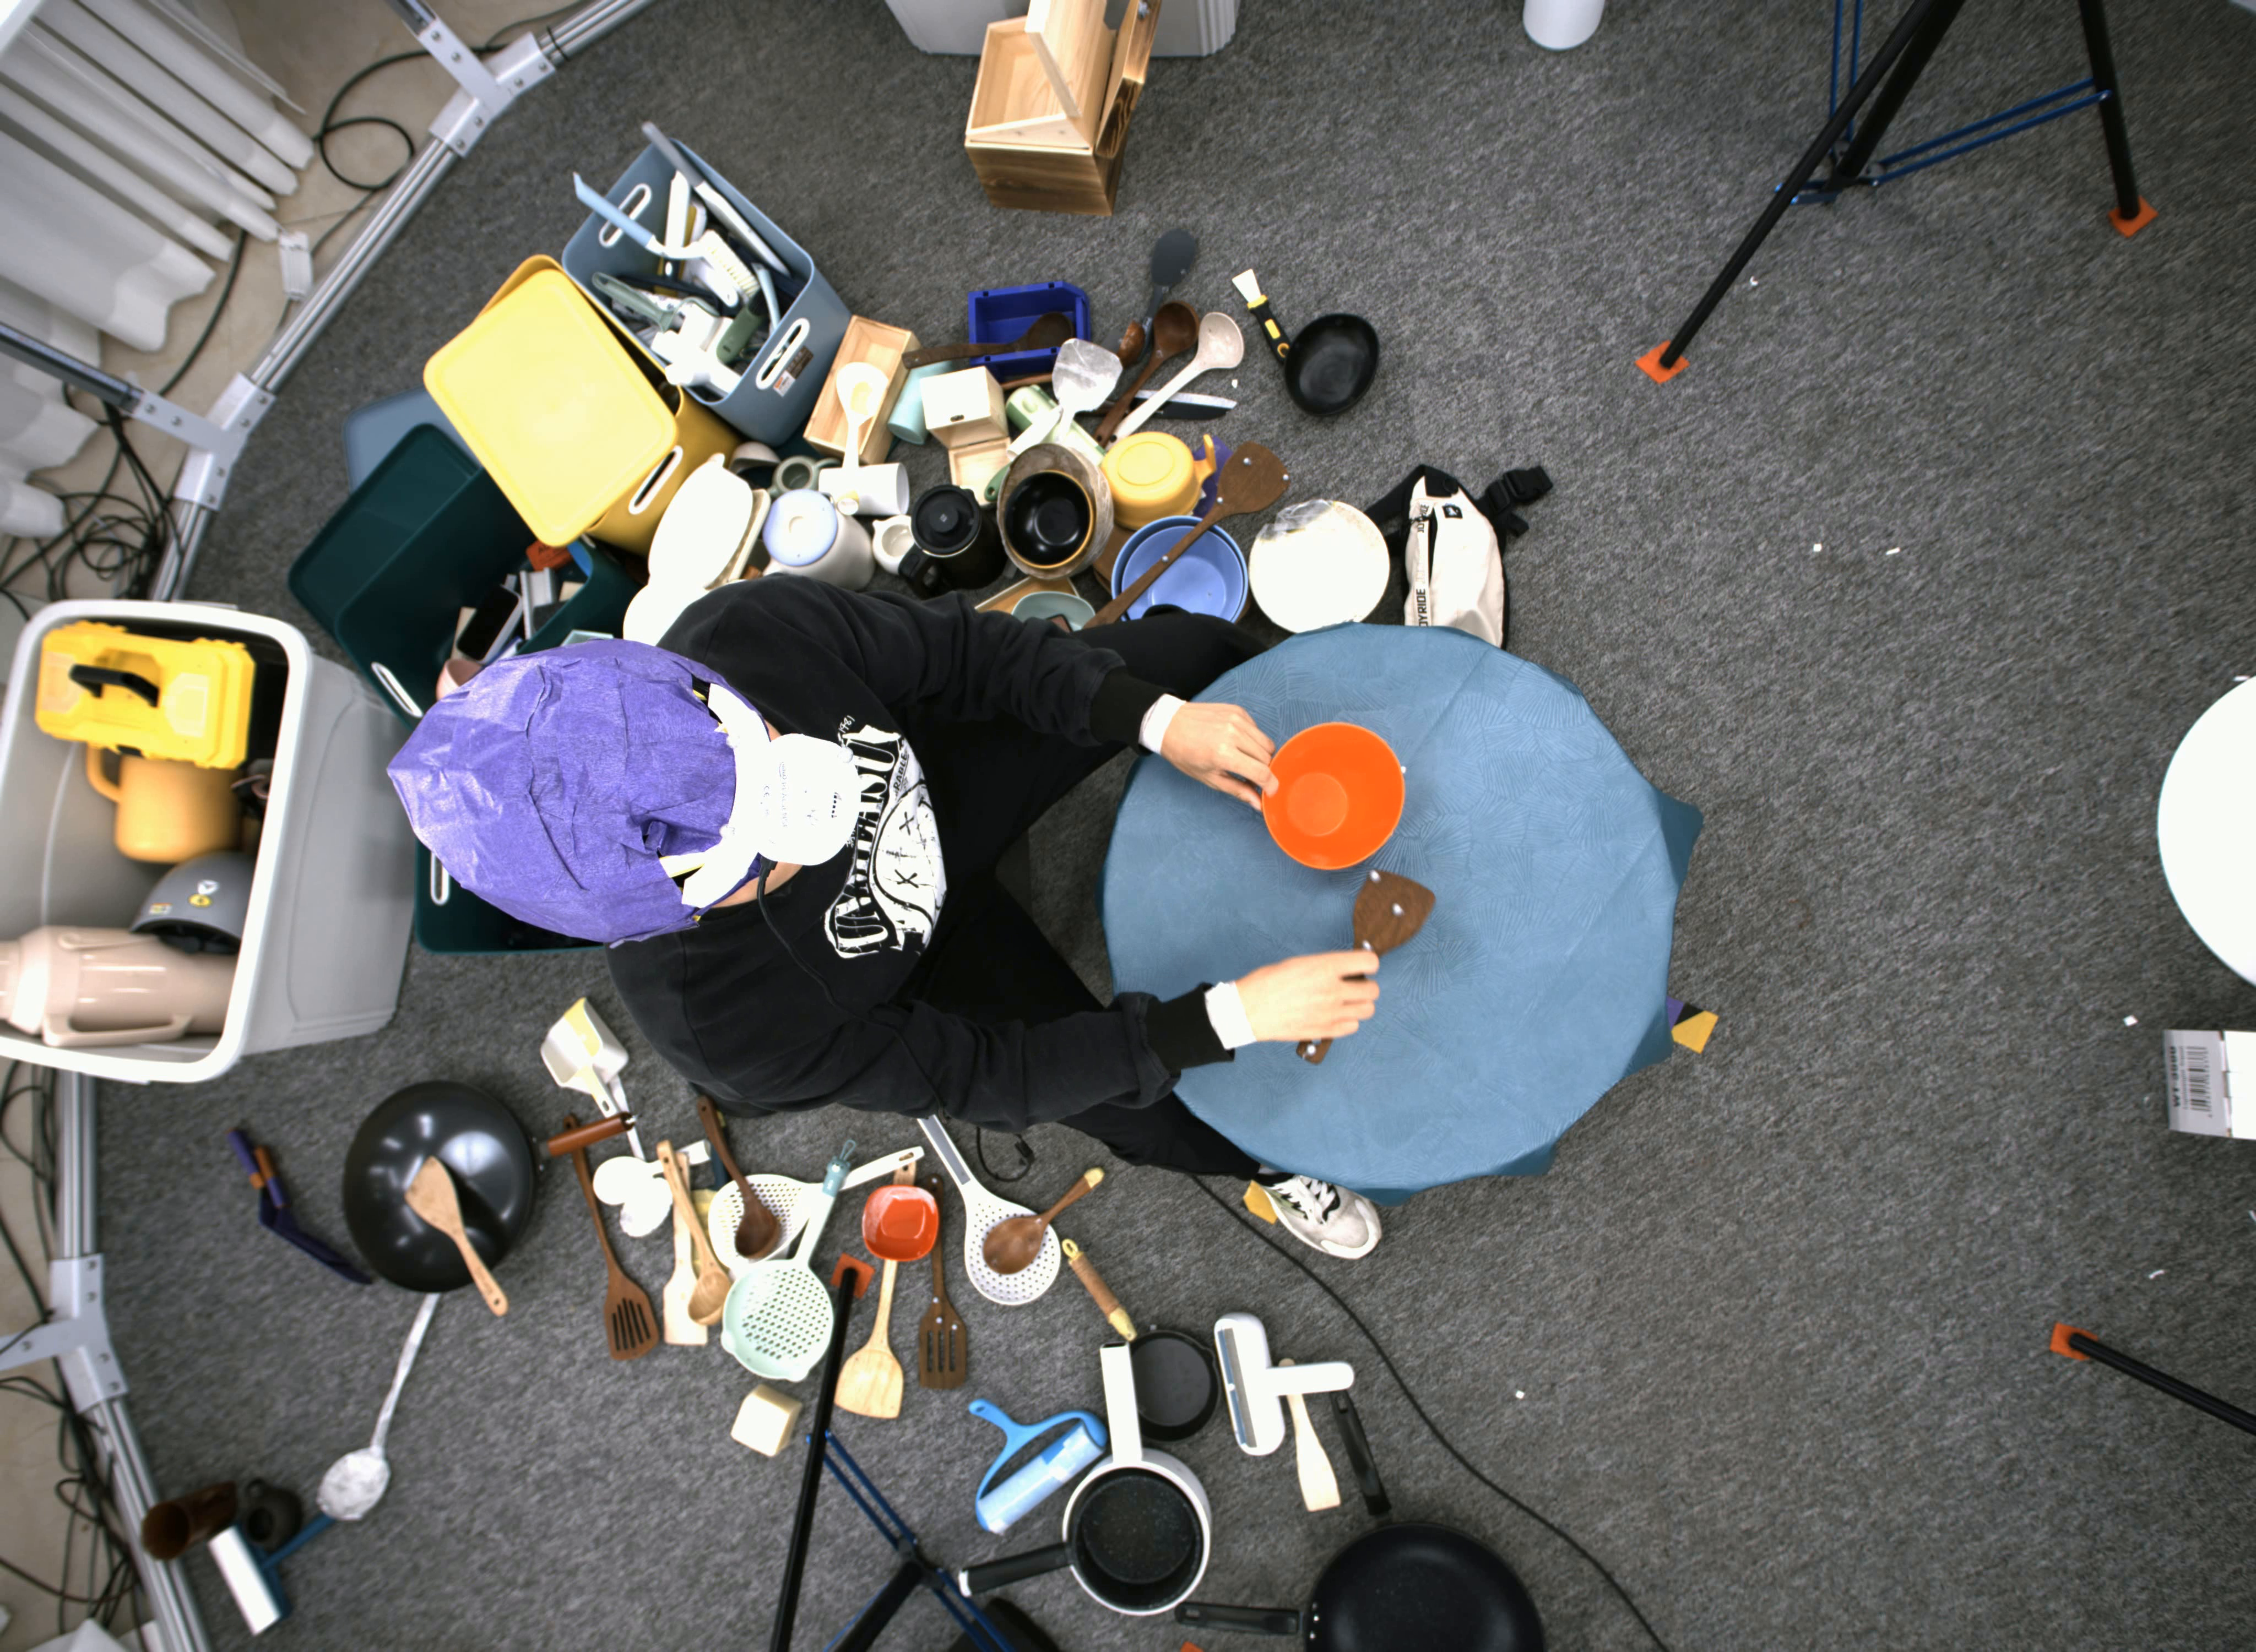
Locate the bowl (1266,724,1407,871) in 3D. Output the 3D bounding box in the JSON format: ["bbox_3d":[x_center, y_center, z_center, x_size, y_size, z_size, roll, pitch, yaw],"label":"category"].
[{"bbox_3d":[0.206,-0.030,1.423,0.148,0.104,0.148,0,93,-5],"label":"bowl"}]

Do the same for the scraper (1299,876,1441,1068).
[{"bbox_3d":[0.228,0.143,1.351,0.075,0.011,0.208,27,74,25],"label":"scraper"}]
